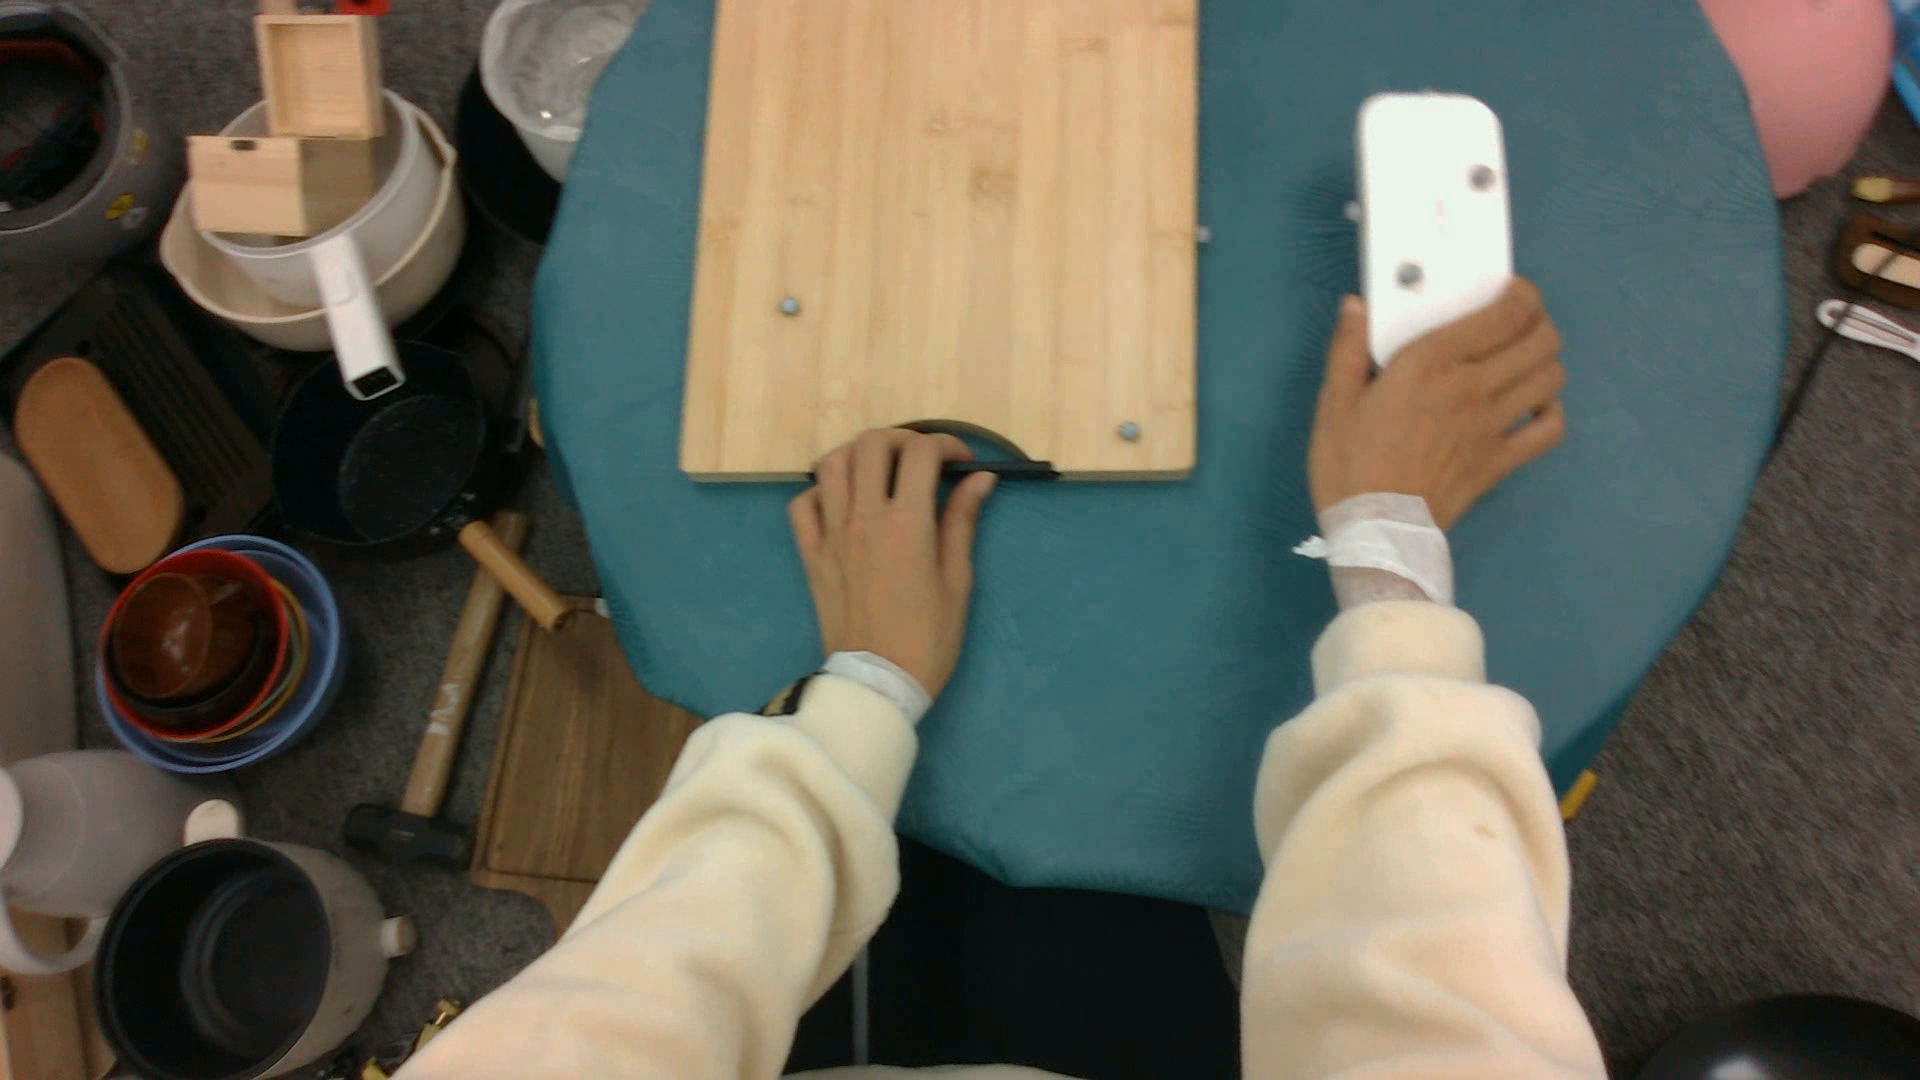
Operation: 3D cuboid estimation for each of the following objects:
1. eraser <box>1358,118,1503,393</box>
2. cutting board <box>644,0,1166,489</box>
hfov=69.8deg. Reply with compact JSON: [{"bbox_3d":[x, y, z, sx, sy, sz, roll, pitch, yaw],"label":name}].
[{"bbox_3d":[0.213,-0.132,0.632,0.063,0.034,0.131,5,75,3],"label":"eraser"},{"bbox_3d":[-0.025,-0.194,0.684,0.250,0.023,0.349,-1,76,2],"label":"cutting board"}]
